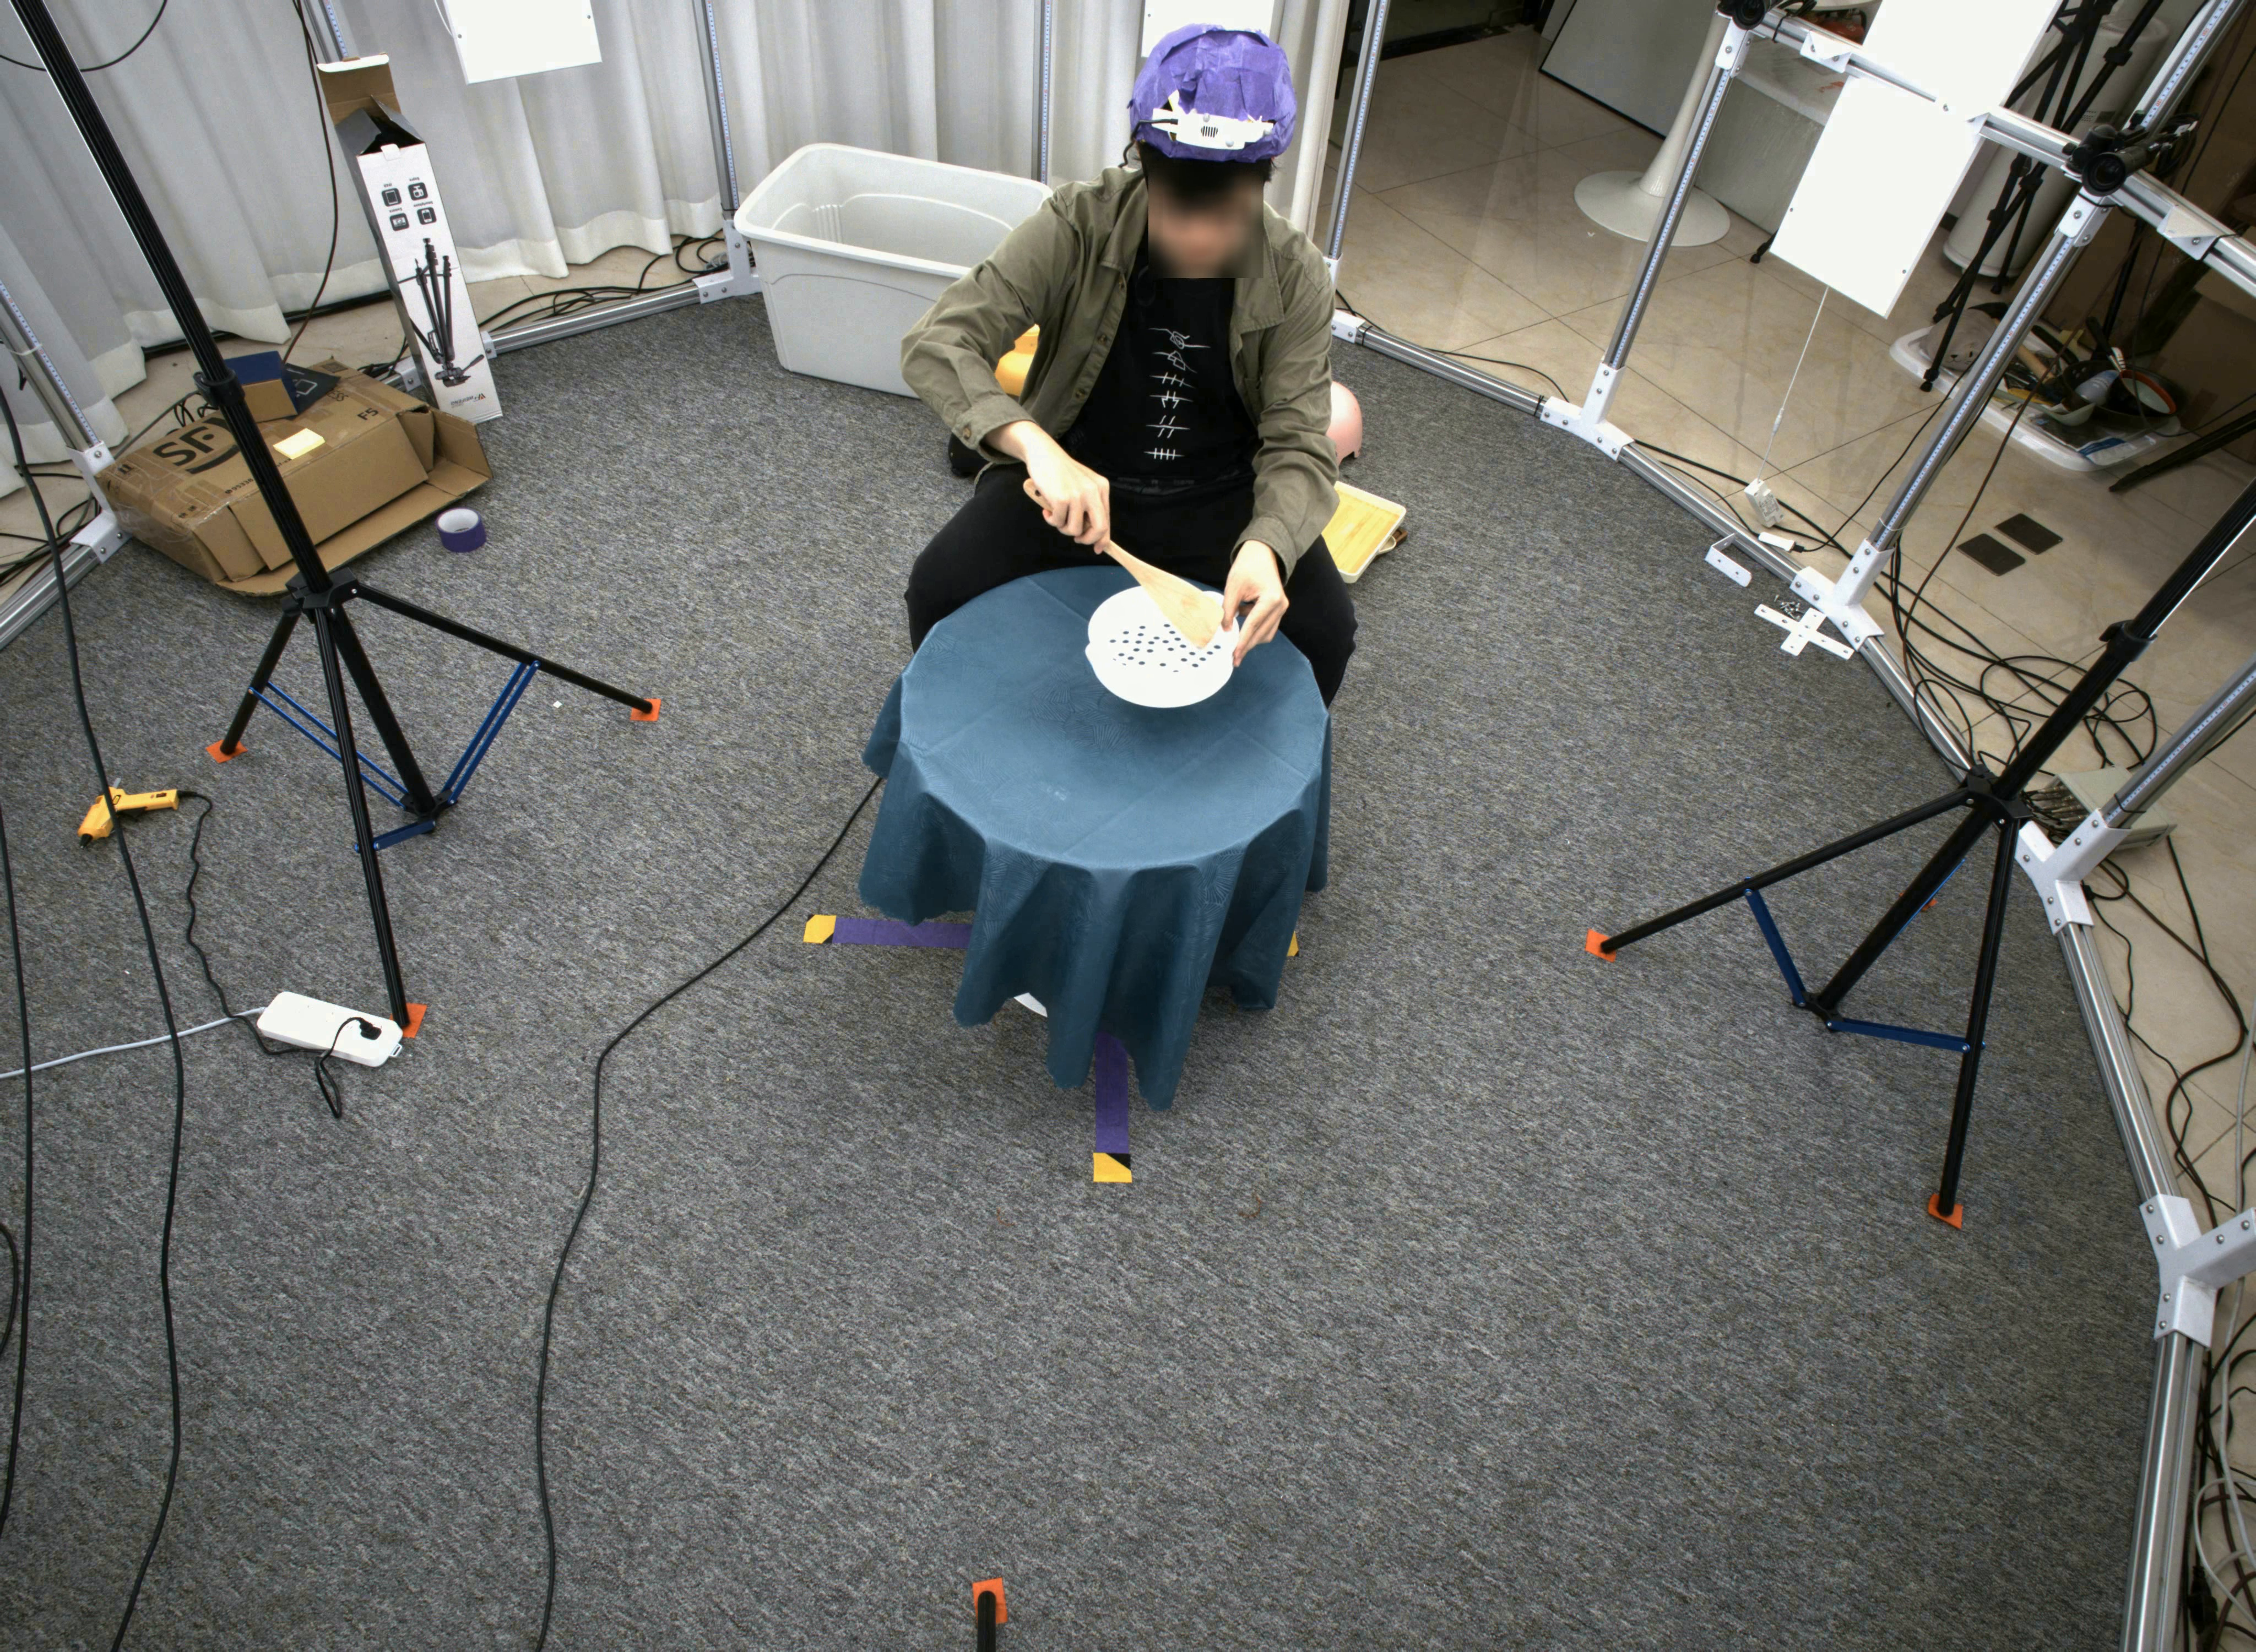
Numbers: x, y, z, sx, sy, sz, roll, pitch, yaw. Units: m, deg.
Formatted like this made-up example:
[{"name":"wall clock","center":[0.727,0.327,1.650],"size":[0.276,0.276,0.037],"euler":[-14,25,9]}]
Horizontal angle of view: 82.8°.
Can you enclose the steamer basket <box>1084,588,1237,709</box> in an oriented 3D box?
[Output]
[{"name":"steamer basket","center":[0.044,-0.239,1.733],"size":[0.232,0.067,0.206],"euler":[-27,51,-27]}]

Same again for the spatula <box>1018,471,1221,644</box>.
[{"name":"spatula","center":[-0.012,-0.364,1.714],"size":[0.325,0.079,0.017],"euler":[36,46,-11]}]
